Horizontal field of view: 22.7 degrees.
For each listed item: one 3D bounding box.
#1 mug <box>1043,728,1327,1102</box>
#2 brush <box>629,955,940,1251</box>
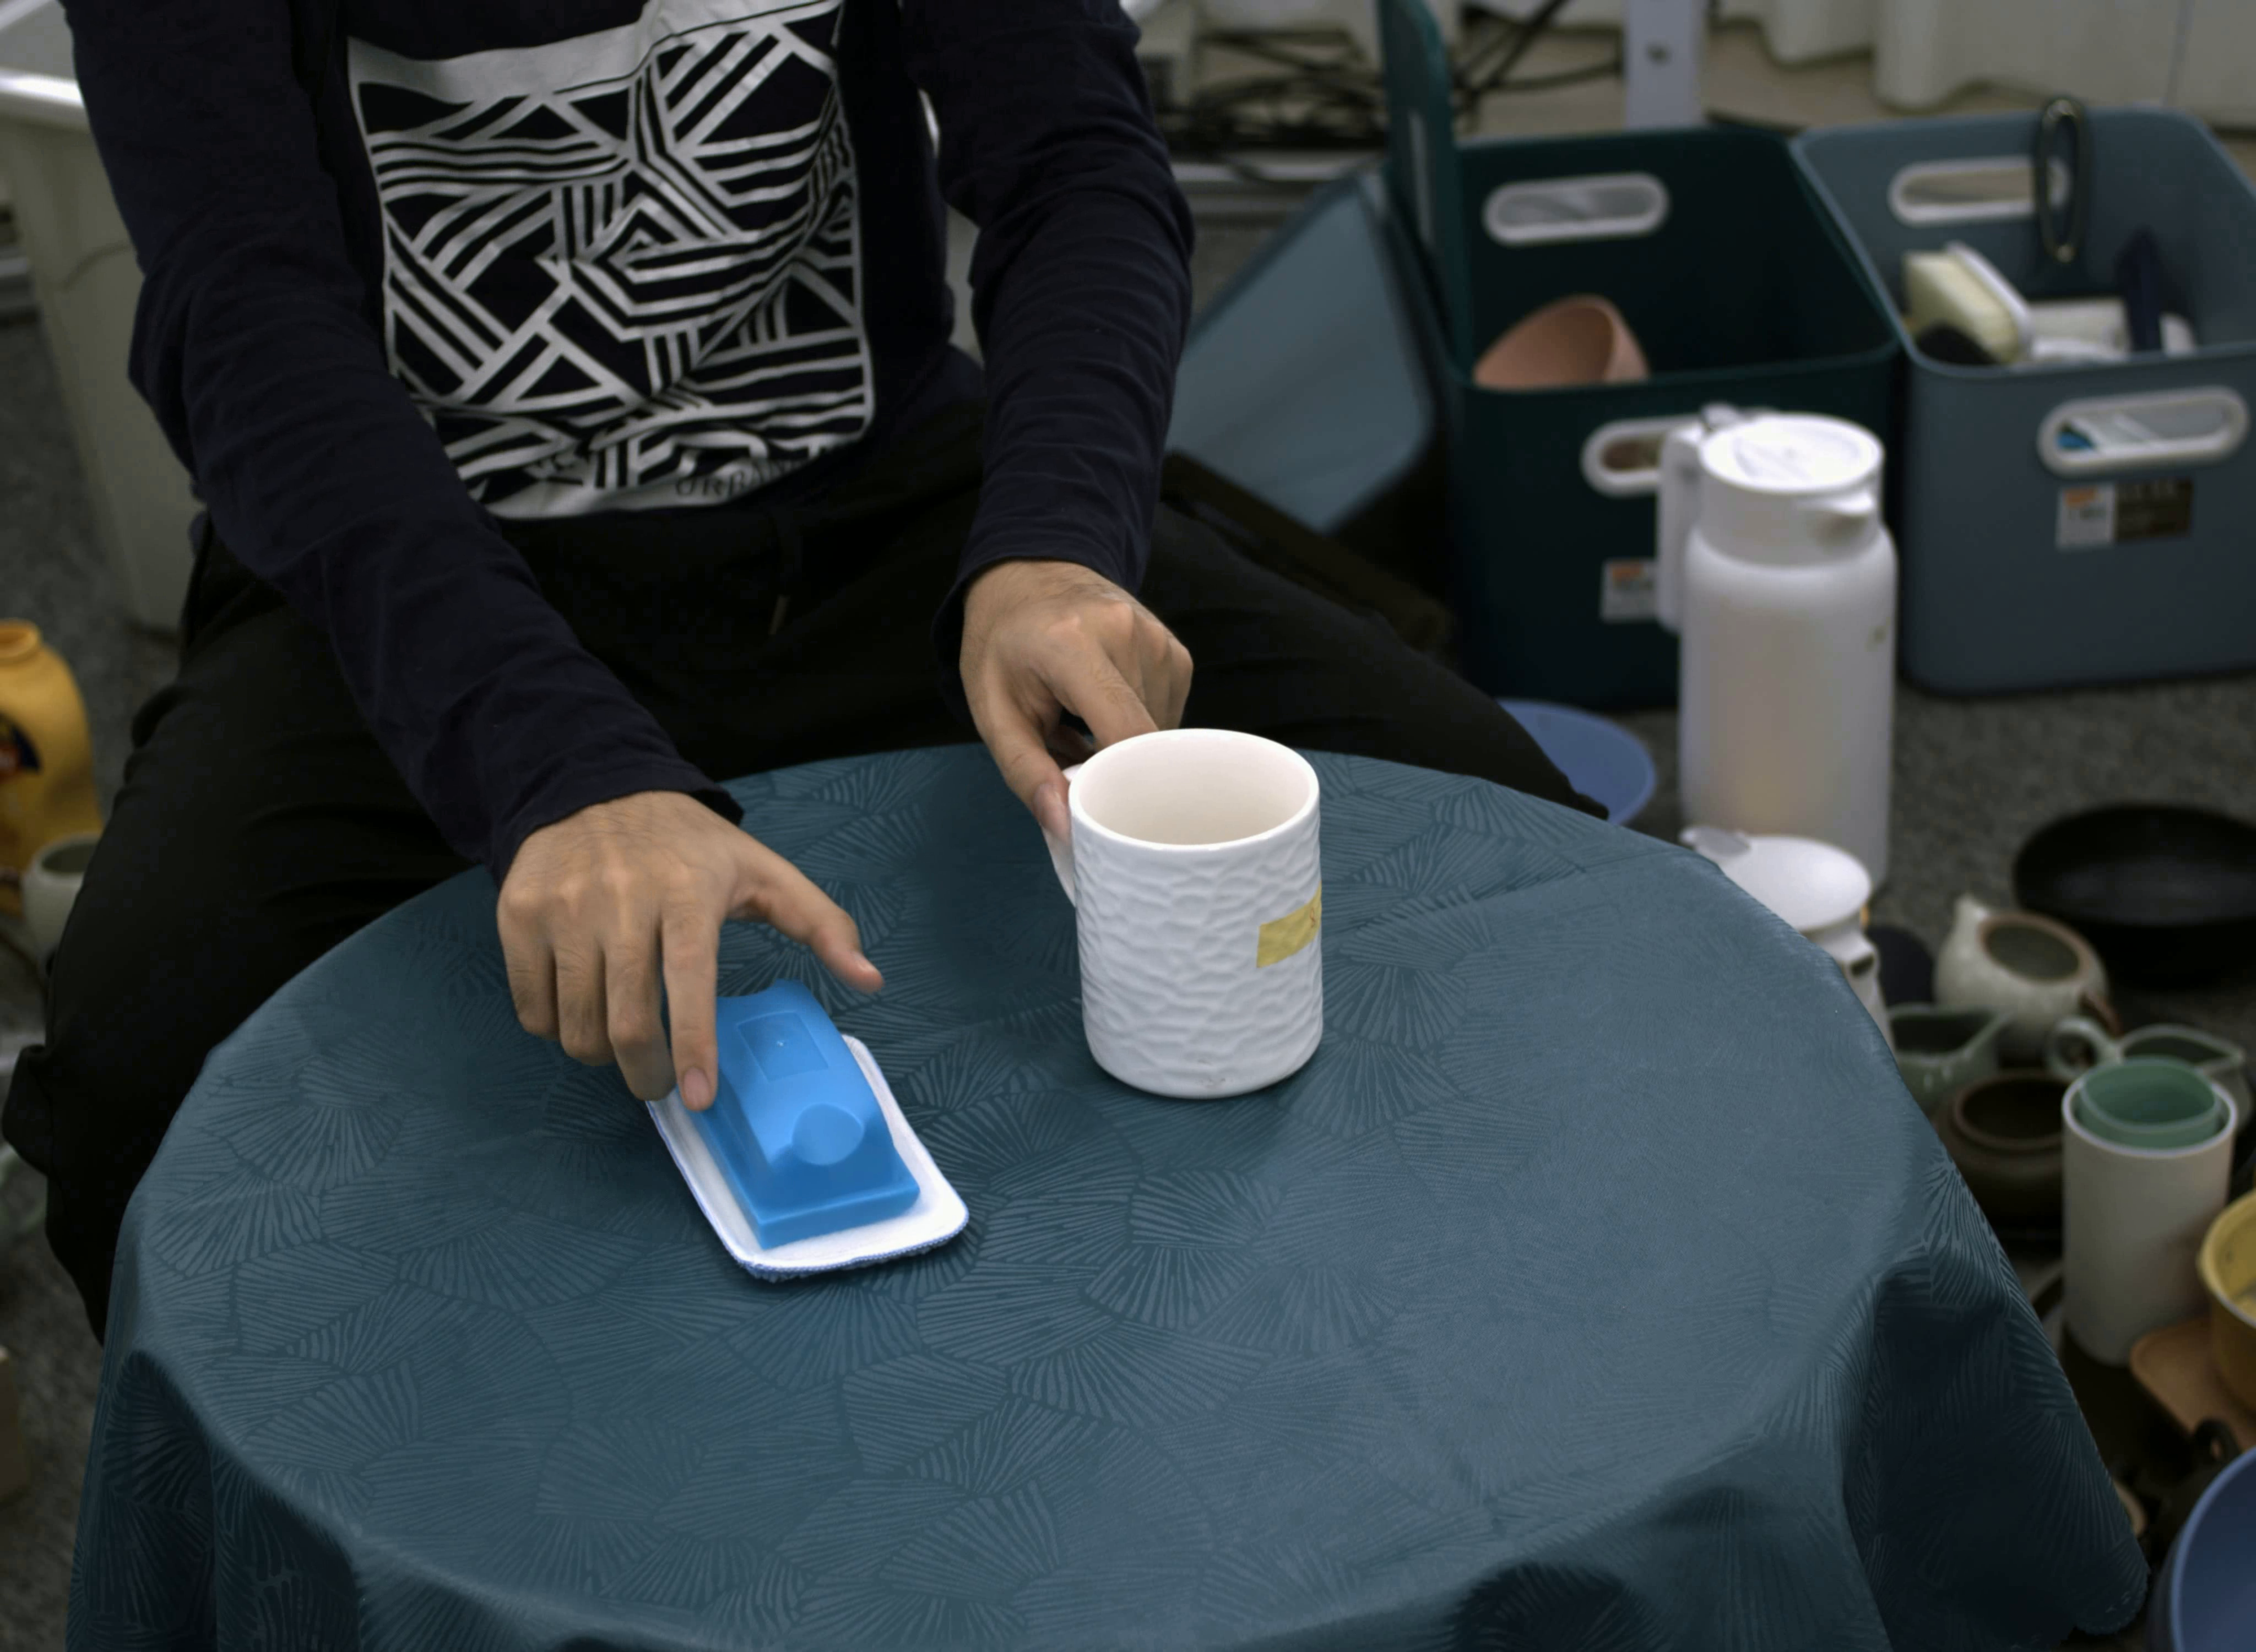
[{"bbox_3d":[0.014,0.026,1.931,0.086,0.101,0.118,-25,35,-34],"label":"mug"},{"bbox_3d":[-0.114,0.088,1.870,0.084,0.055,0.145,-7,30,-15],"label":"brush"}]
